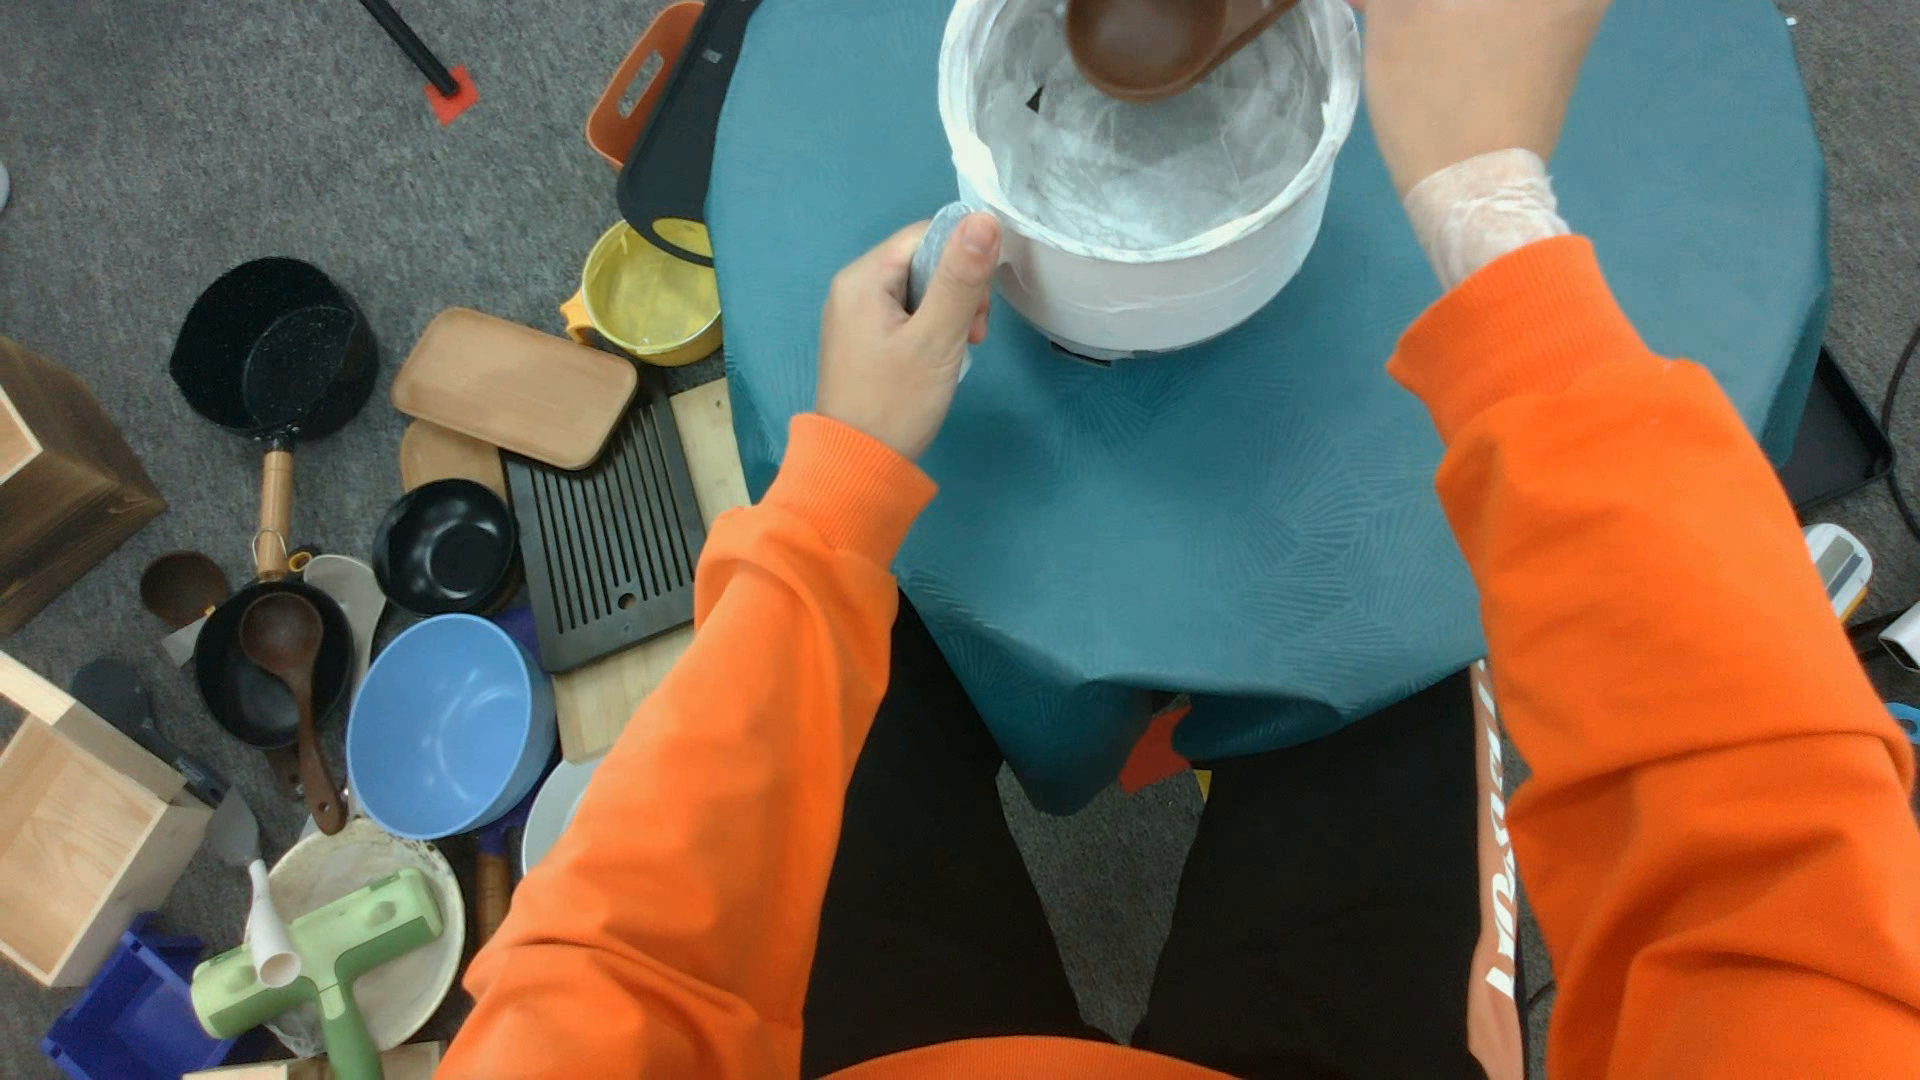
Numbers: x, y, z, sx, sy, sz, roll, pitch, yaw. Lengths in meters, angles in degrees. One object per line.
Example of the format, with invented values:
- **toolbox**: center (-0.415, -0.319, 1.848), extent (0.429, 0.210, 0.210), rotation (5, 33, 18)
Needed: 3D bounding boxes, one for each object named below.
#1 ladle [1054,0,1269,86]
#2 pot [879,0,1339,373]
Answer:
- **ladle**: center (0.136, -0.243, 0.531), extent (0.065, 0.259, 0.076), rotation (5, 84, -34)
- **pot**: center (0.056, -0.174, 0.641), extent (0.234, 0.136, 0.179), rotation (-42, 75, -6)
